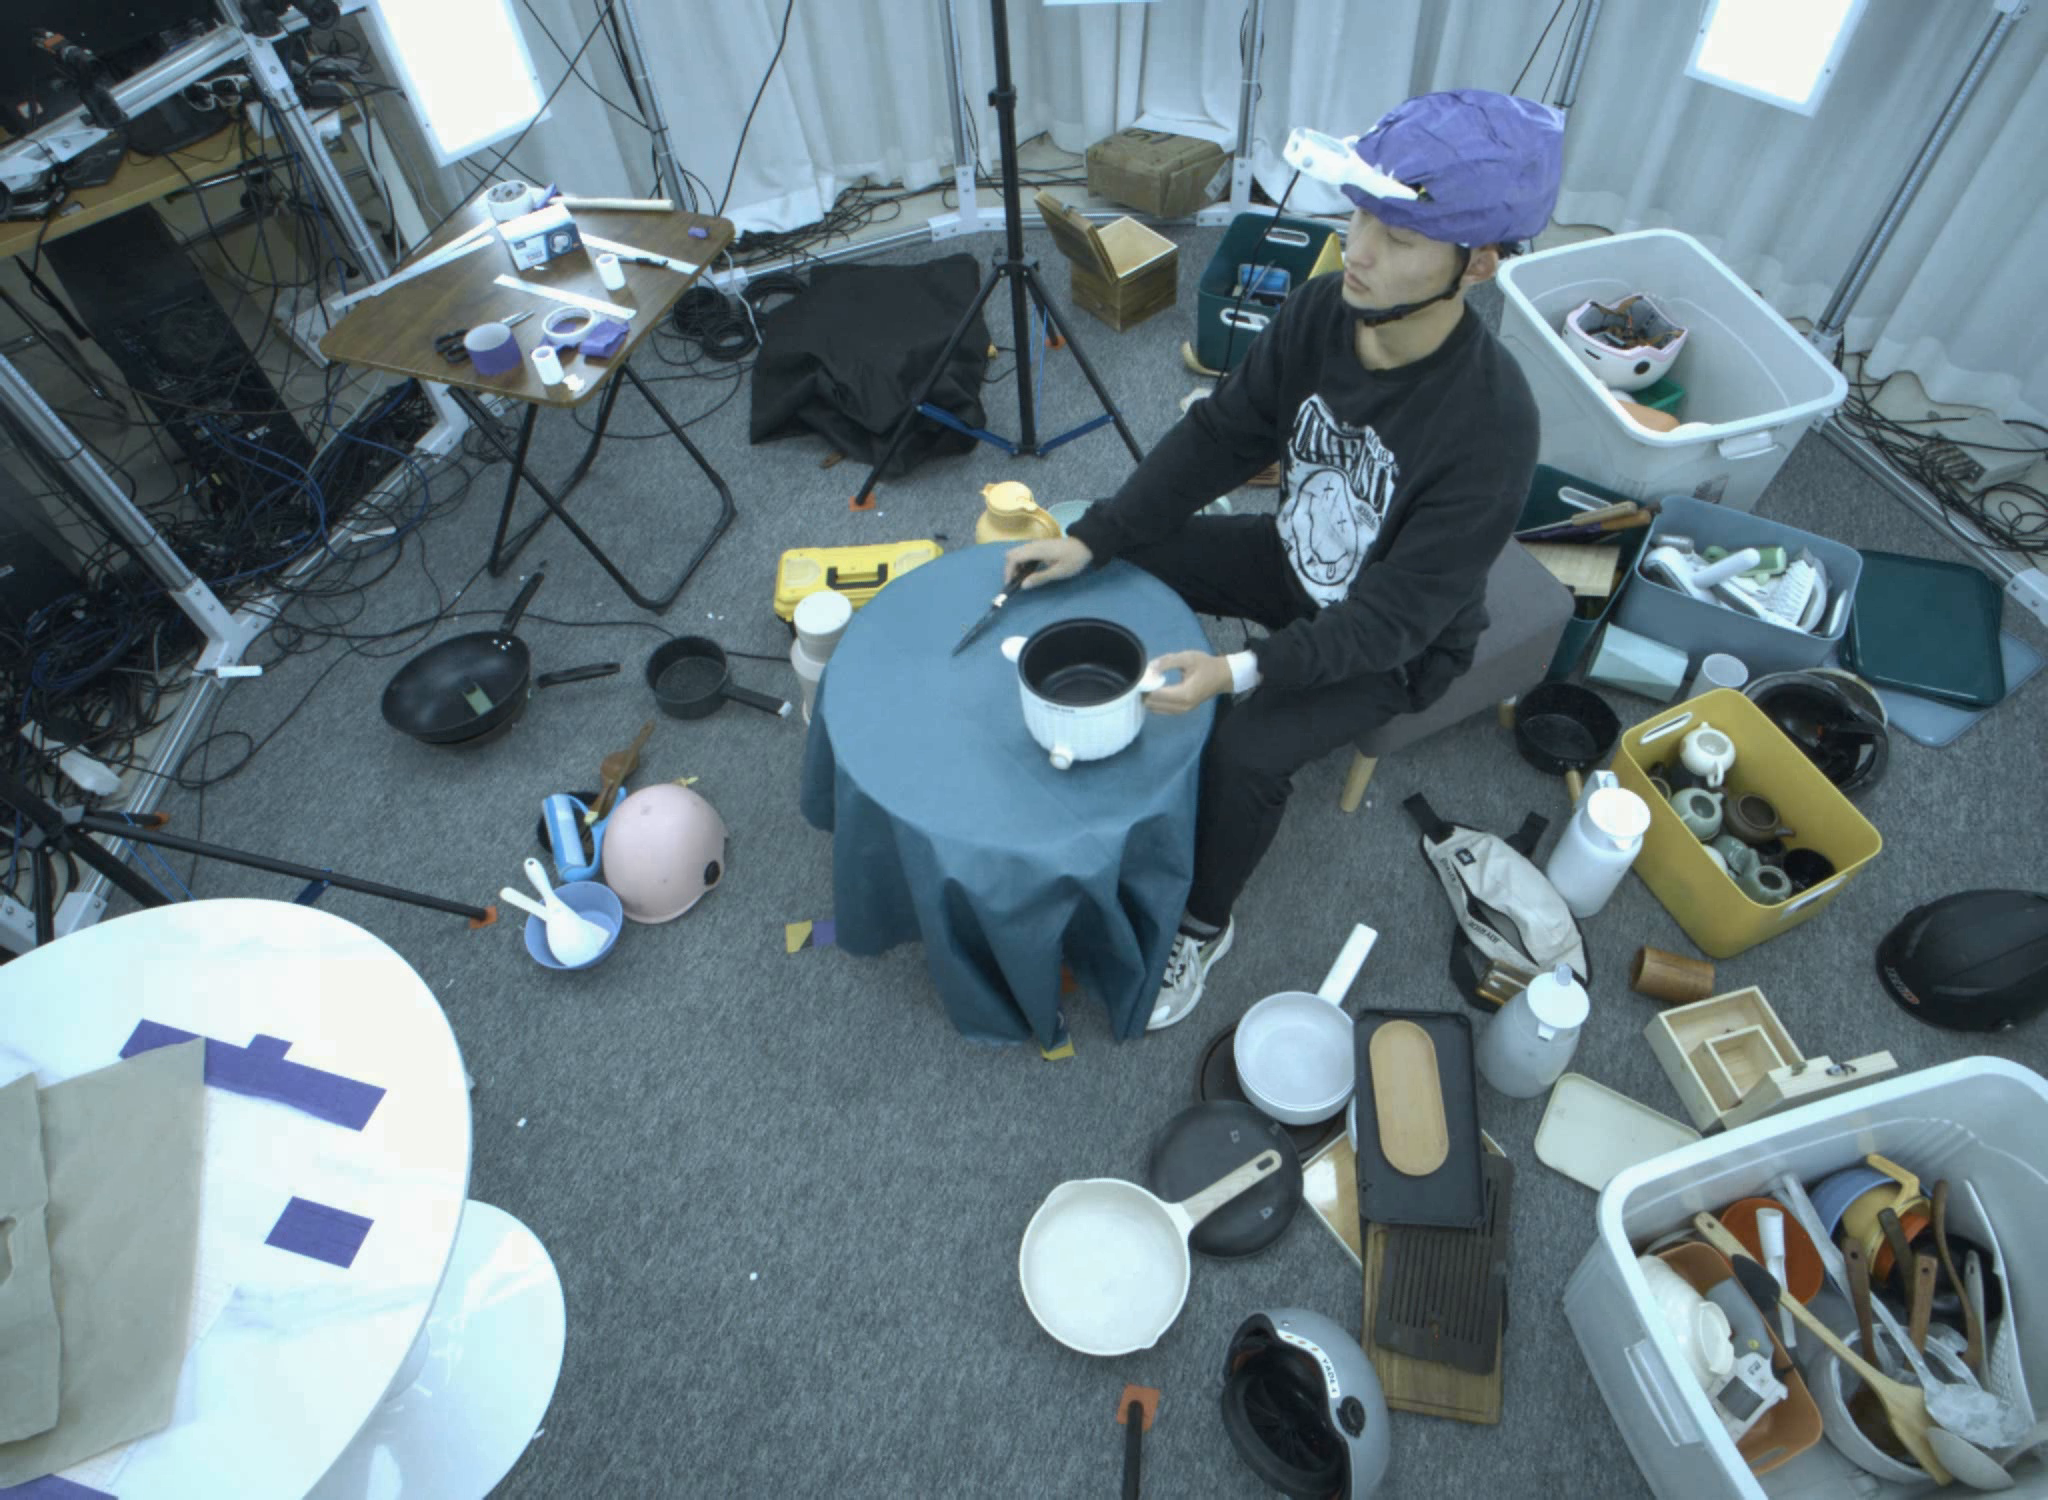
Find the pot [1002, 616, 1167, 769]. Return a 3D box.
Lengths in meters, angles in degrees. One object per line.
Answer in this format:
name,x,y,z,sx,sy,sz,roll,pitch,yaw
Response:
pot,0.084,-0.077,1.741,0.237,0.144,0.190,13,47,17

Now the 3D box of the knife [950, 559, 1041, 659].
knife,-0.047,-0.222,1.920,0.025,0.017,0.226,17,60,49
